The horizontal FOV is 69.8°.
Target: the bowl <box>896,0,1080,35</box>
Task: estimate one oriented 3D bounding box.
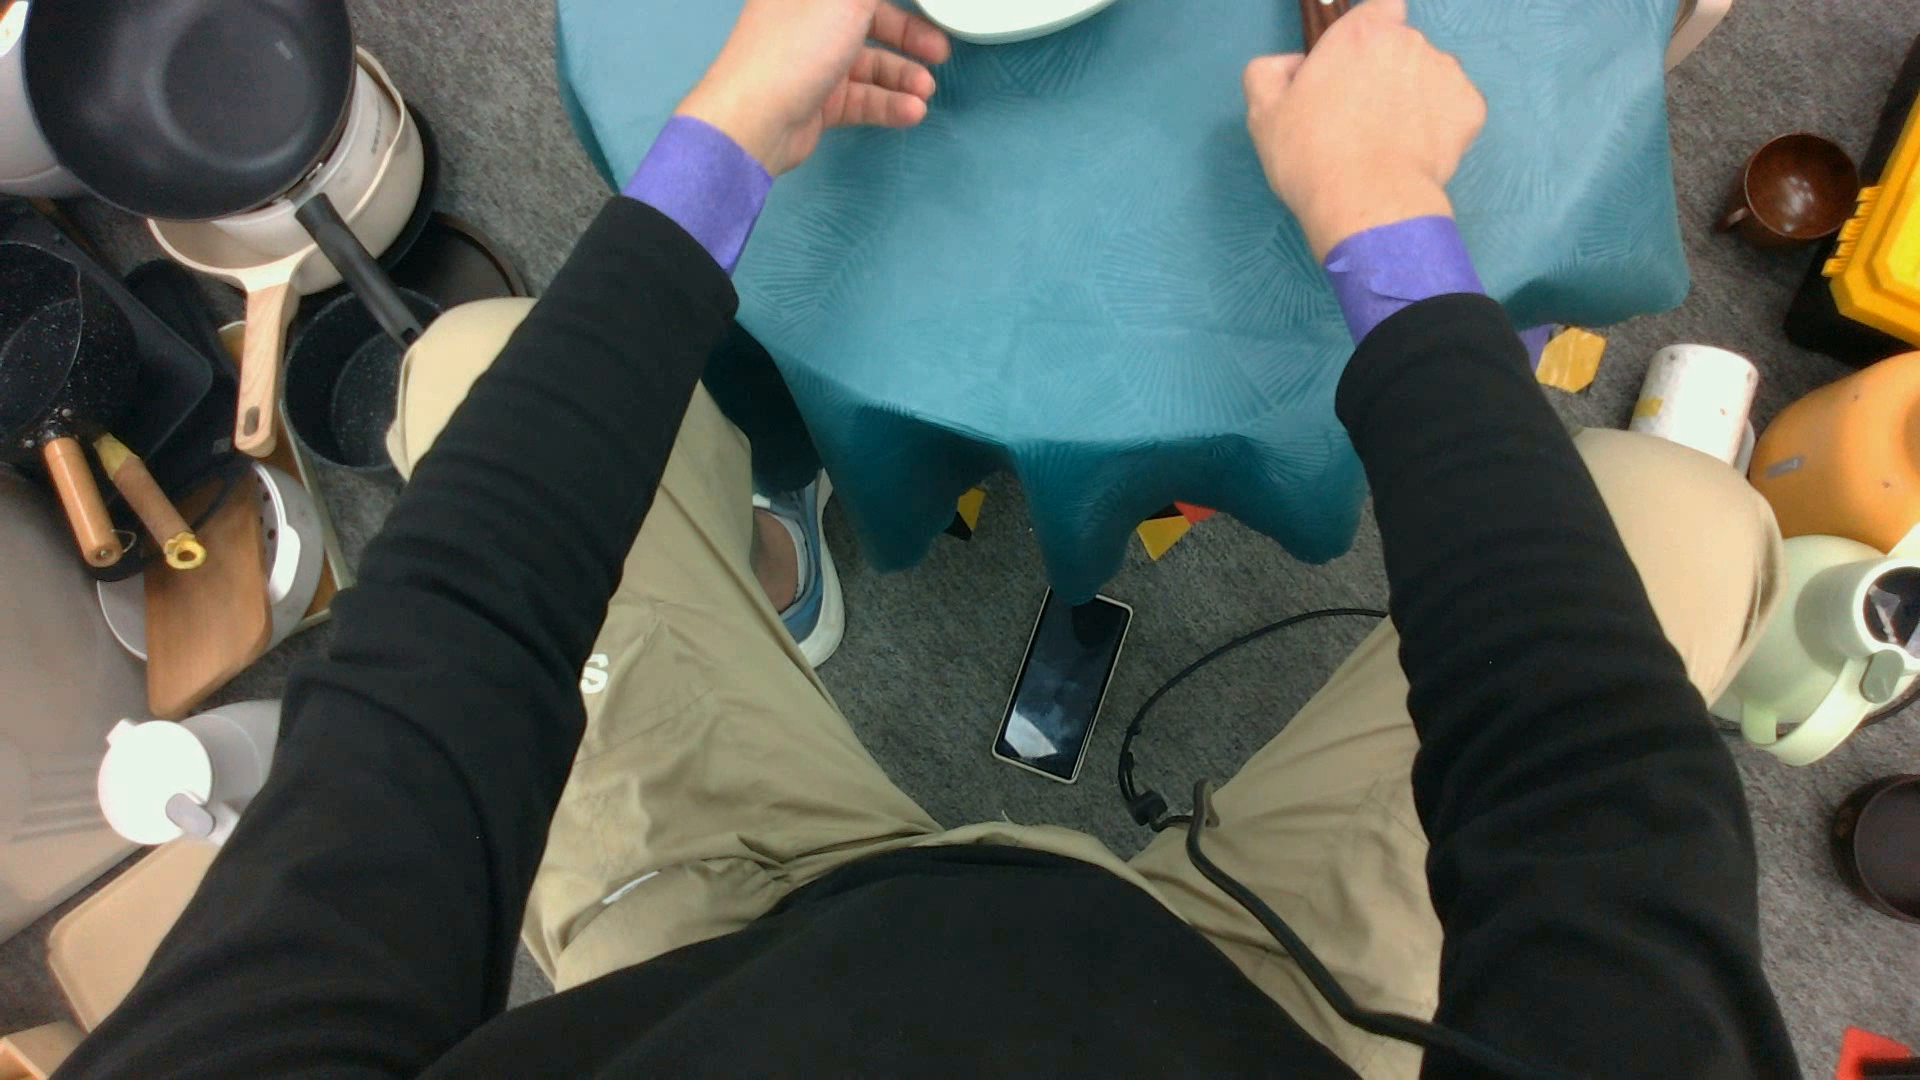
[{"bbox_3d":[0.018,-0.316,0.702,0.151,0.058,0.151,-1,80,4],"label":"bowl"}]

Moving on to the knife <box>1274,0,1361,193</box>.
[{"bbox_3d":[0.175,-0.308,0.699,0.050,0.020,0.290,-2,75,1],"label":"knife"}]
